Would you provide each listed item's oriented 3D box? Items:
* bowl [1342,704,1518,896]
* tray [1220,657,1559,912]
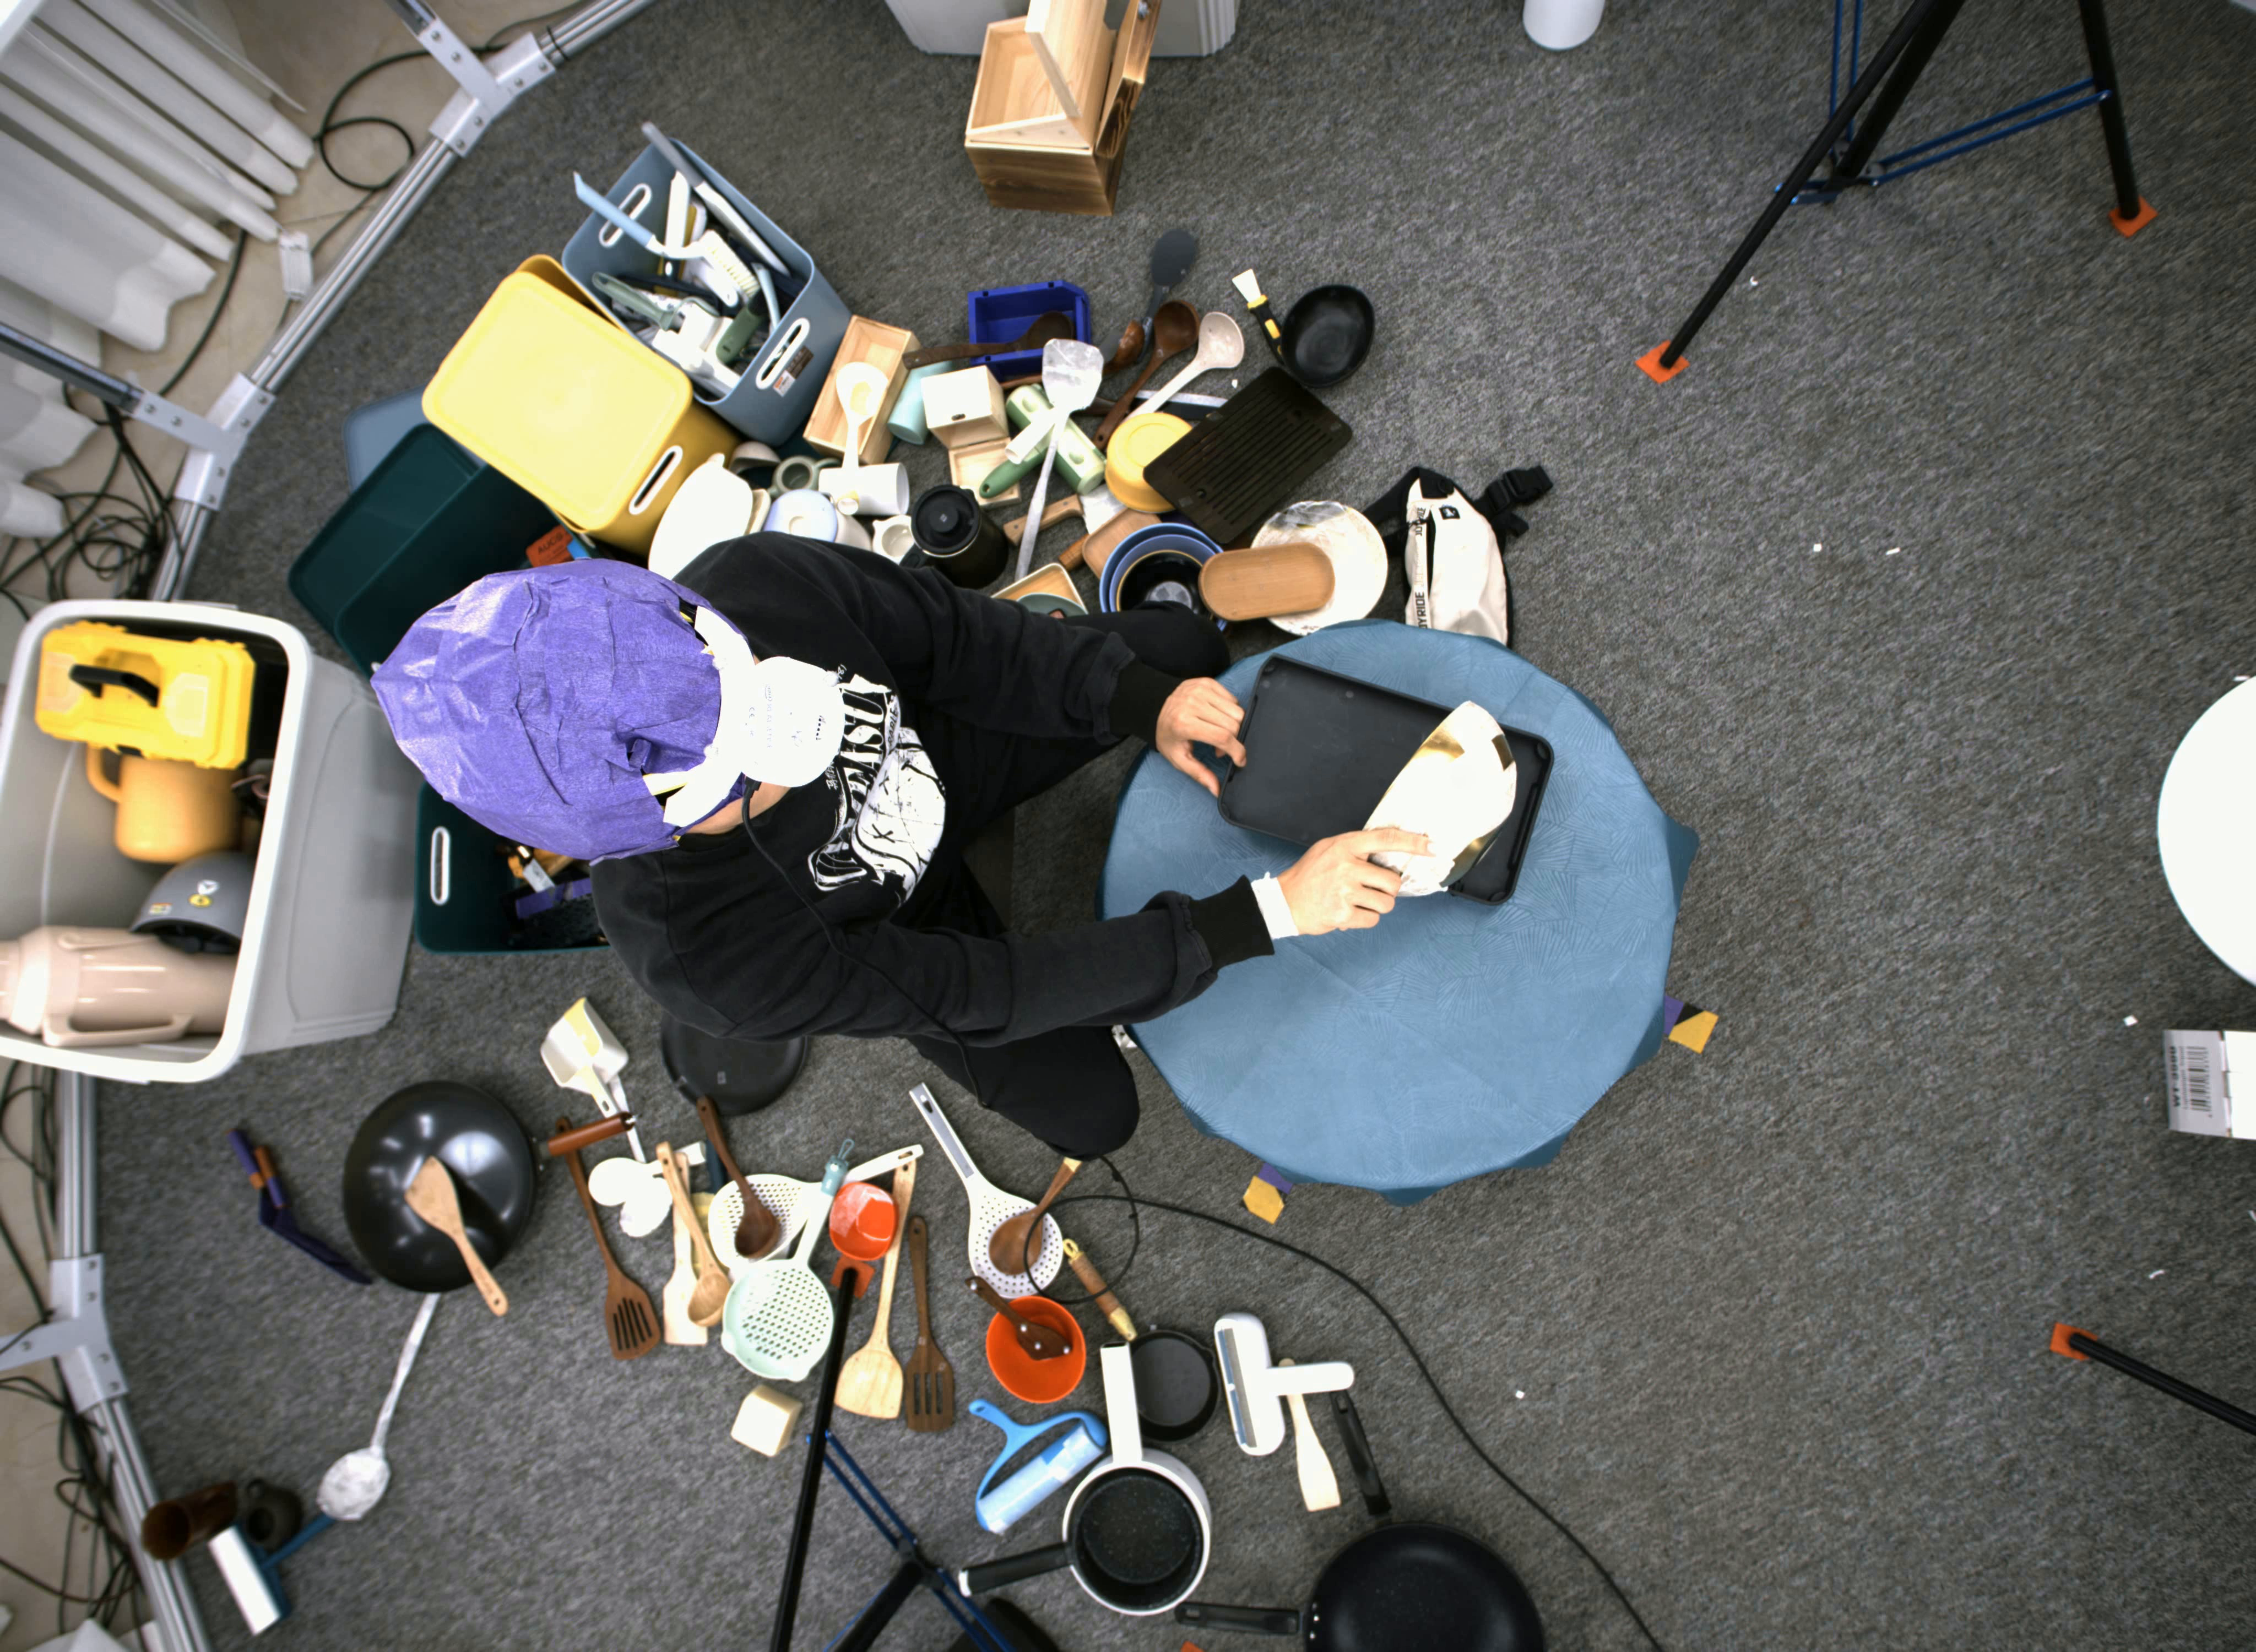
[{"bbox_3d":[0.300,-0.006,1.297,0.094,0.215,0.215,39,92,16],"label":"bowl"},{"bbox_3d":[0.269,-0.045,1.429,0.318,0.037,0.184,19,92,4],"label":"tray"}]
